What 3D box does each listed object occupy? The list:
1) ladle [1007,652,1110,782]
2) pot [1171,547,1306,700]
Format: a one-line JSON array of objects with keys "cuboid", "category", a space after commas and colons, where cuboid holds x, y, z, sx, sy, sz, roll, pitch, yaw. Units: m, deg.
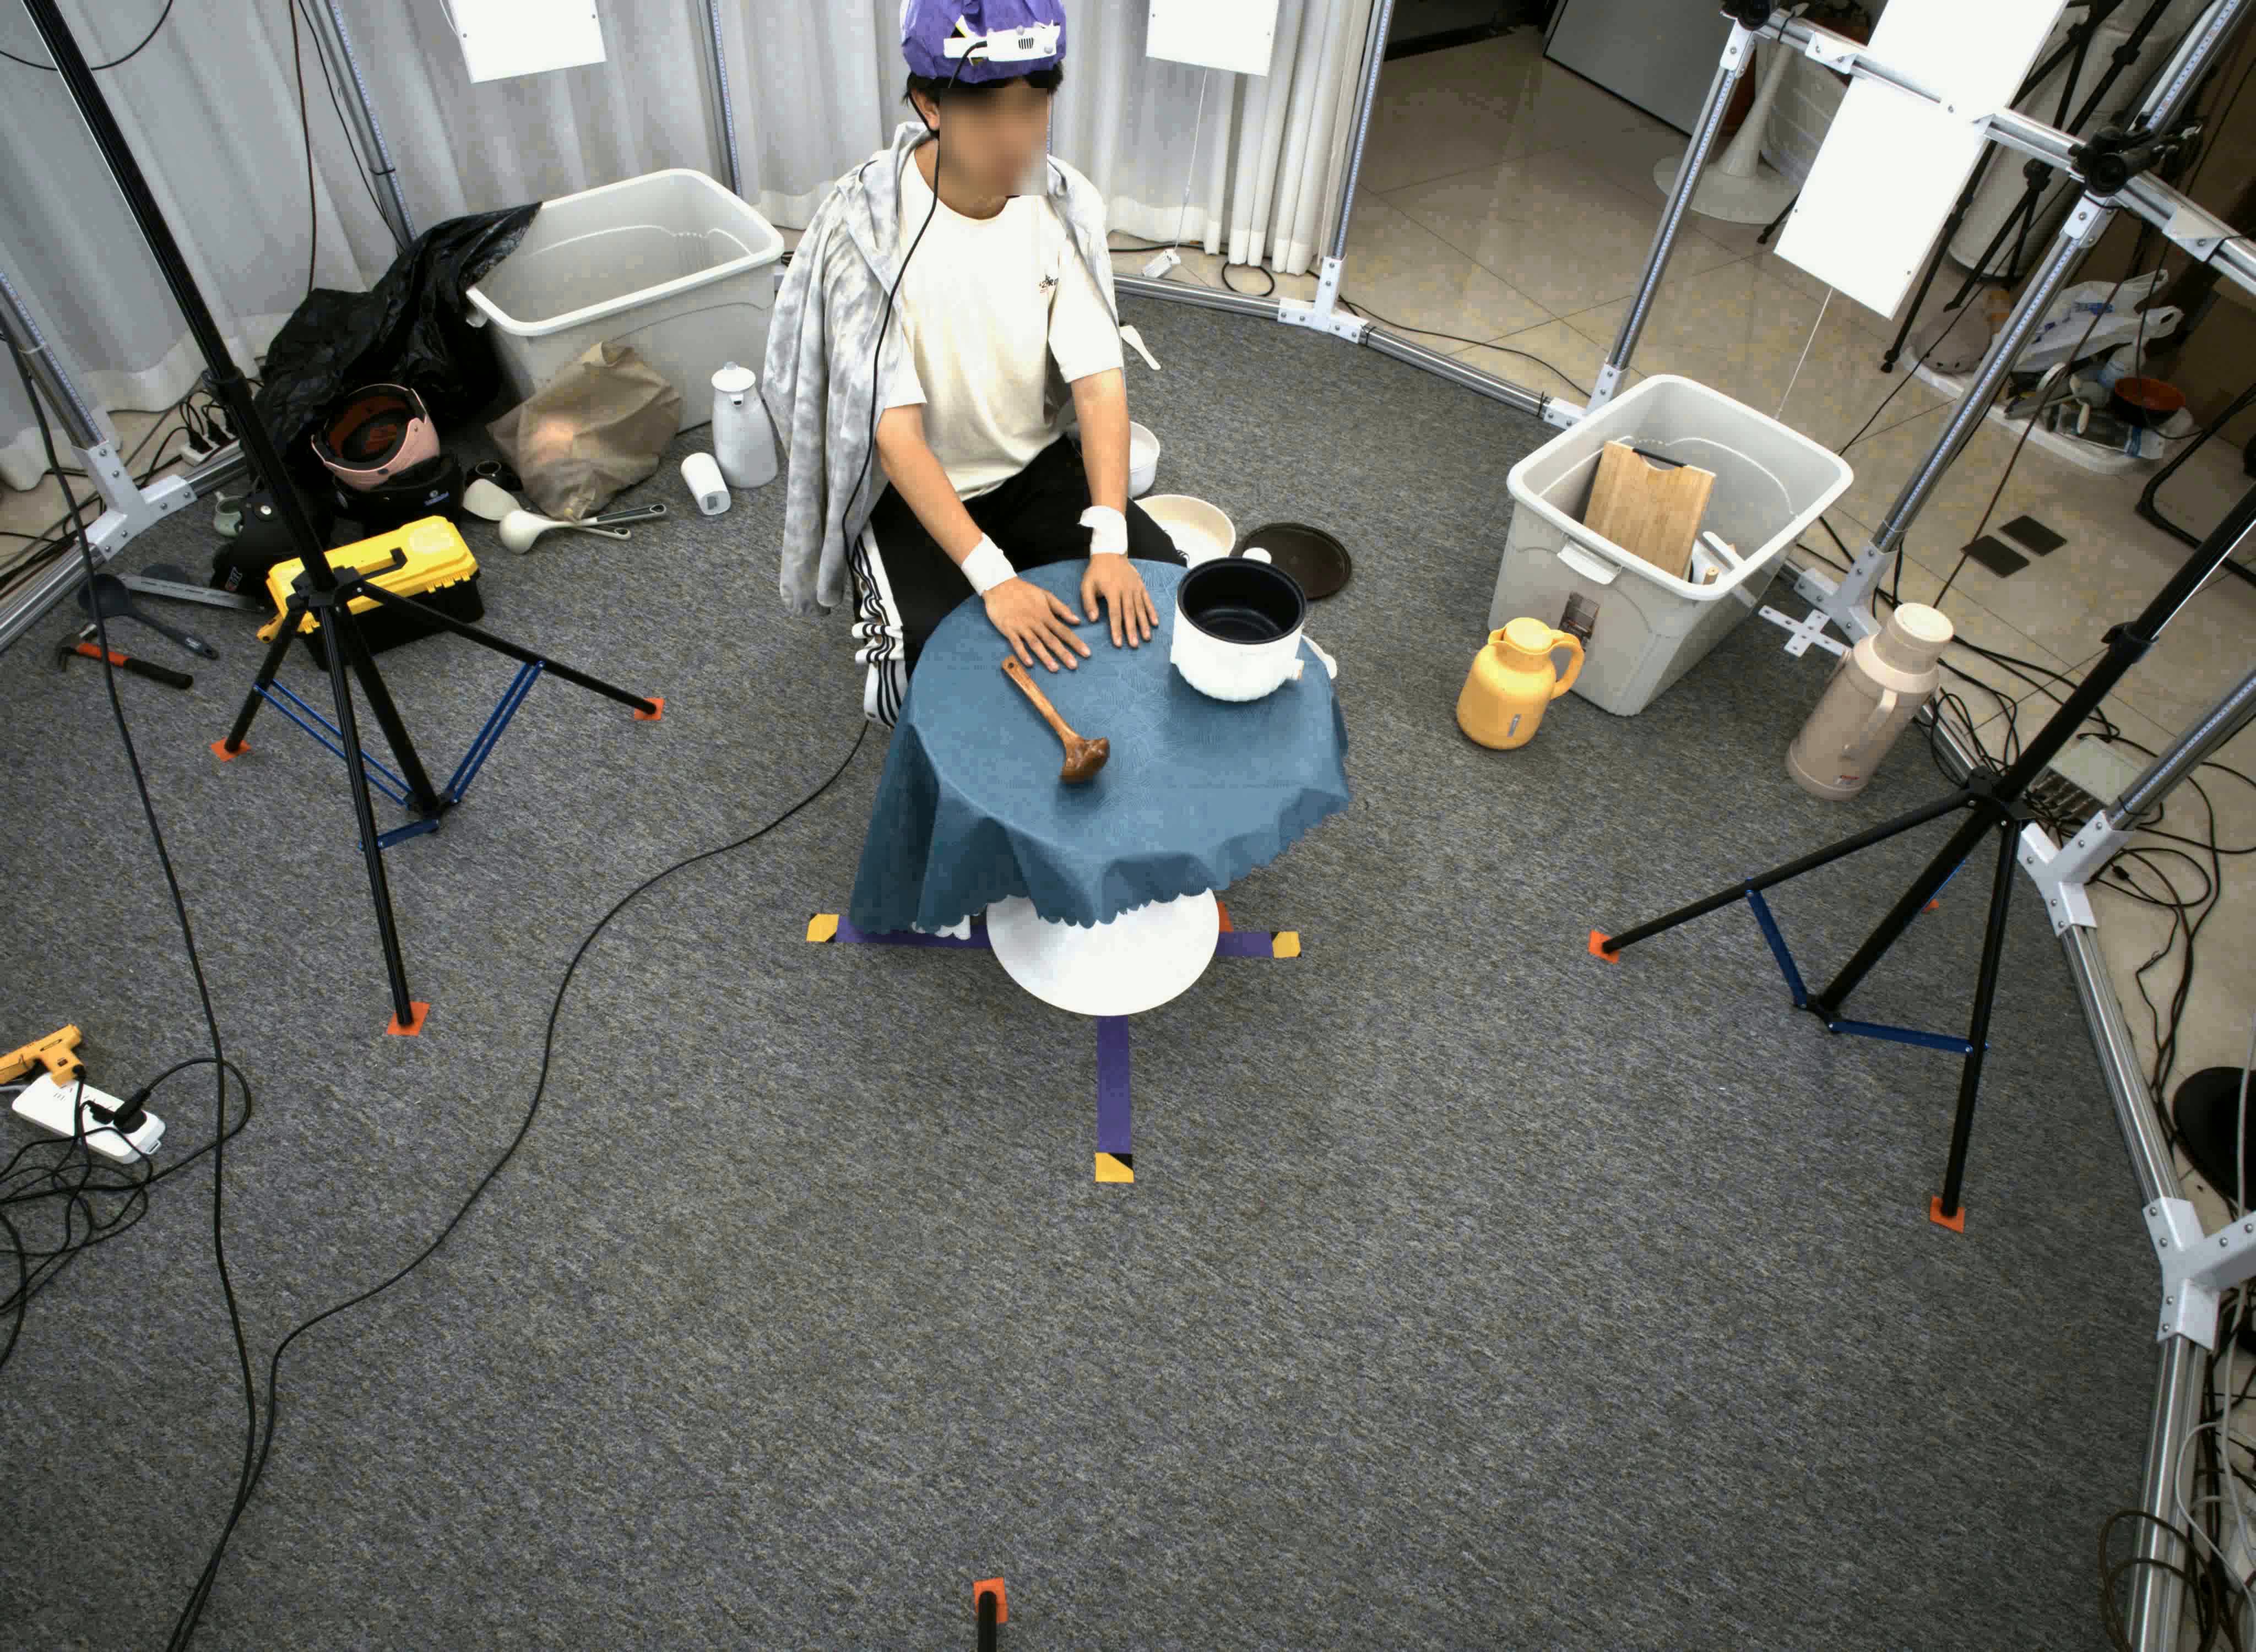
[{"cuboid": [-0.111, -0.161, 1.744, 0.082, 0.075, 0.280, -35, 57, -1], "category": "ladle"}, {"cuboid": [0.159, -0.273, 1.819, 0.191, 0.139, 0.245, 11, 50, 11], "category": "pot"}]
